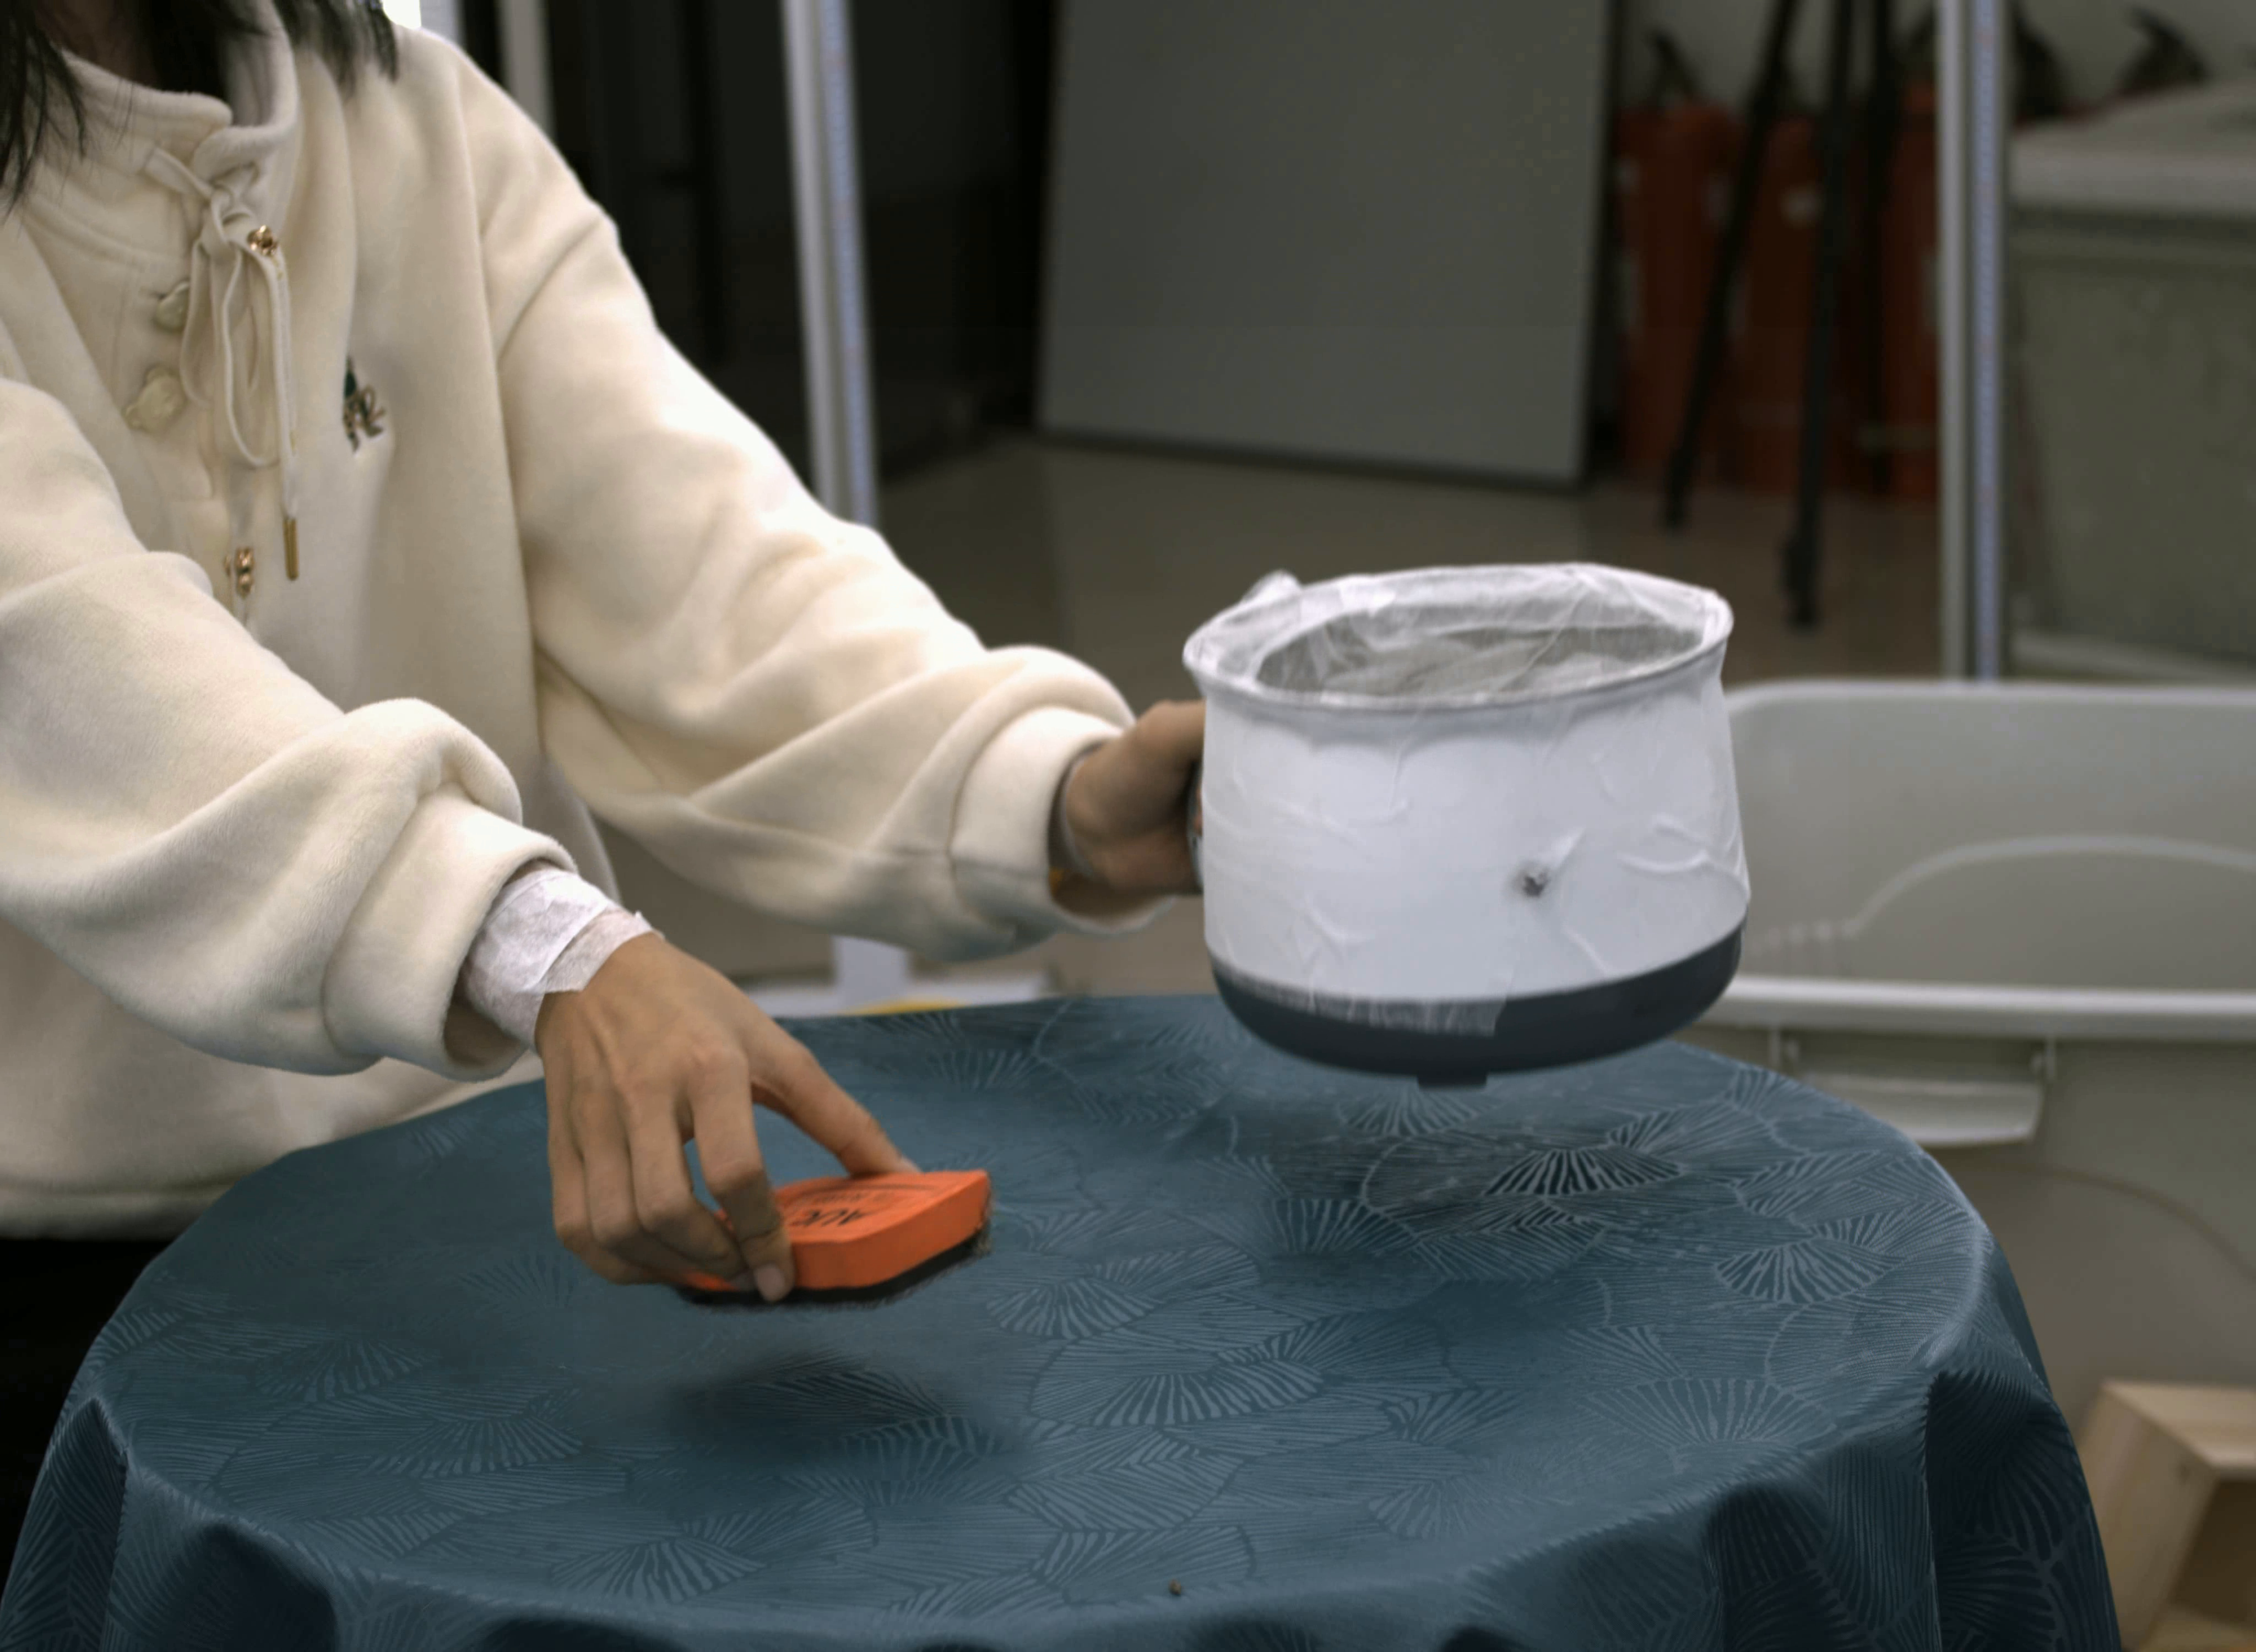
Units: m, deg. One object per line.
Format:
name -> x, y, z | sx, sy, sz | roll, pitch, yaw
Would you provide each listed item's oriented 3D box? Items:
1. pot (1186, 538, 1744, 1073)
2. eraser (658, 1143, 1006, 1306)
pot -> 0.093, -0.014, 1.751 | 0.175, 0.138, 0.236 | -14, 18, -32
eraser -> -0.088, 0.118, 1.595 | 0.058, 0.023, 0.109 | -27, 10, -38
